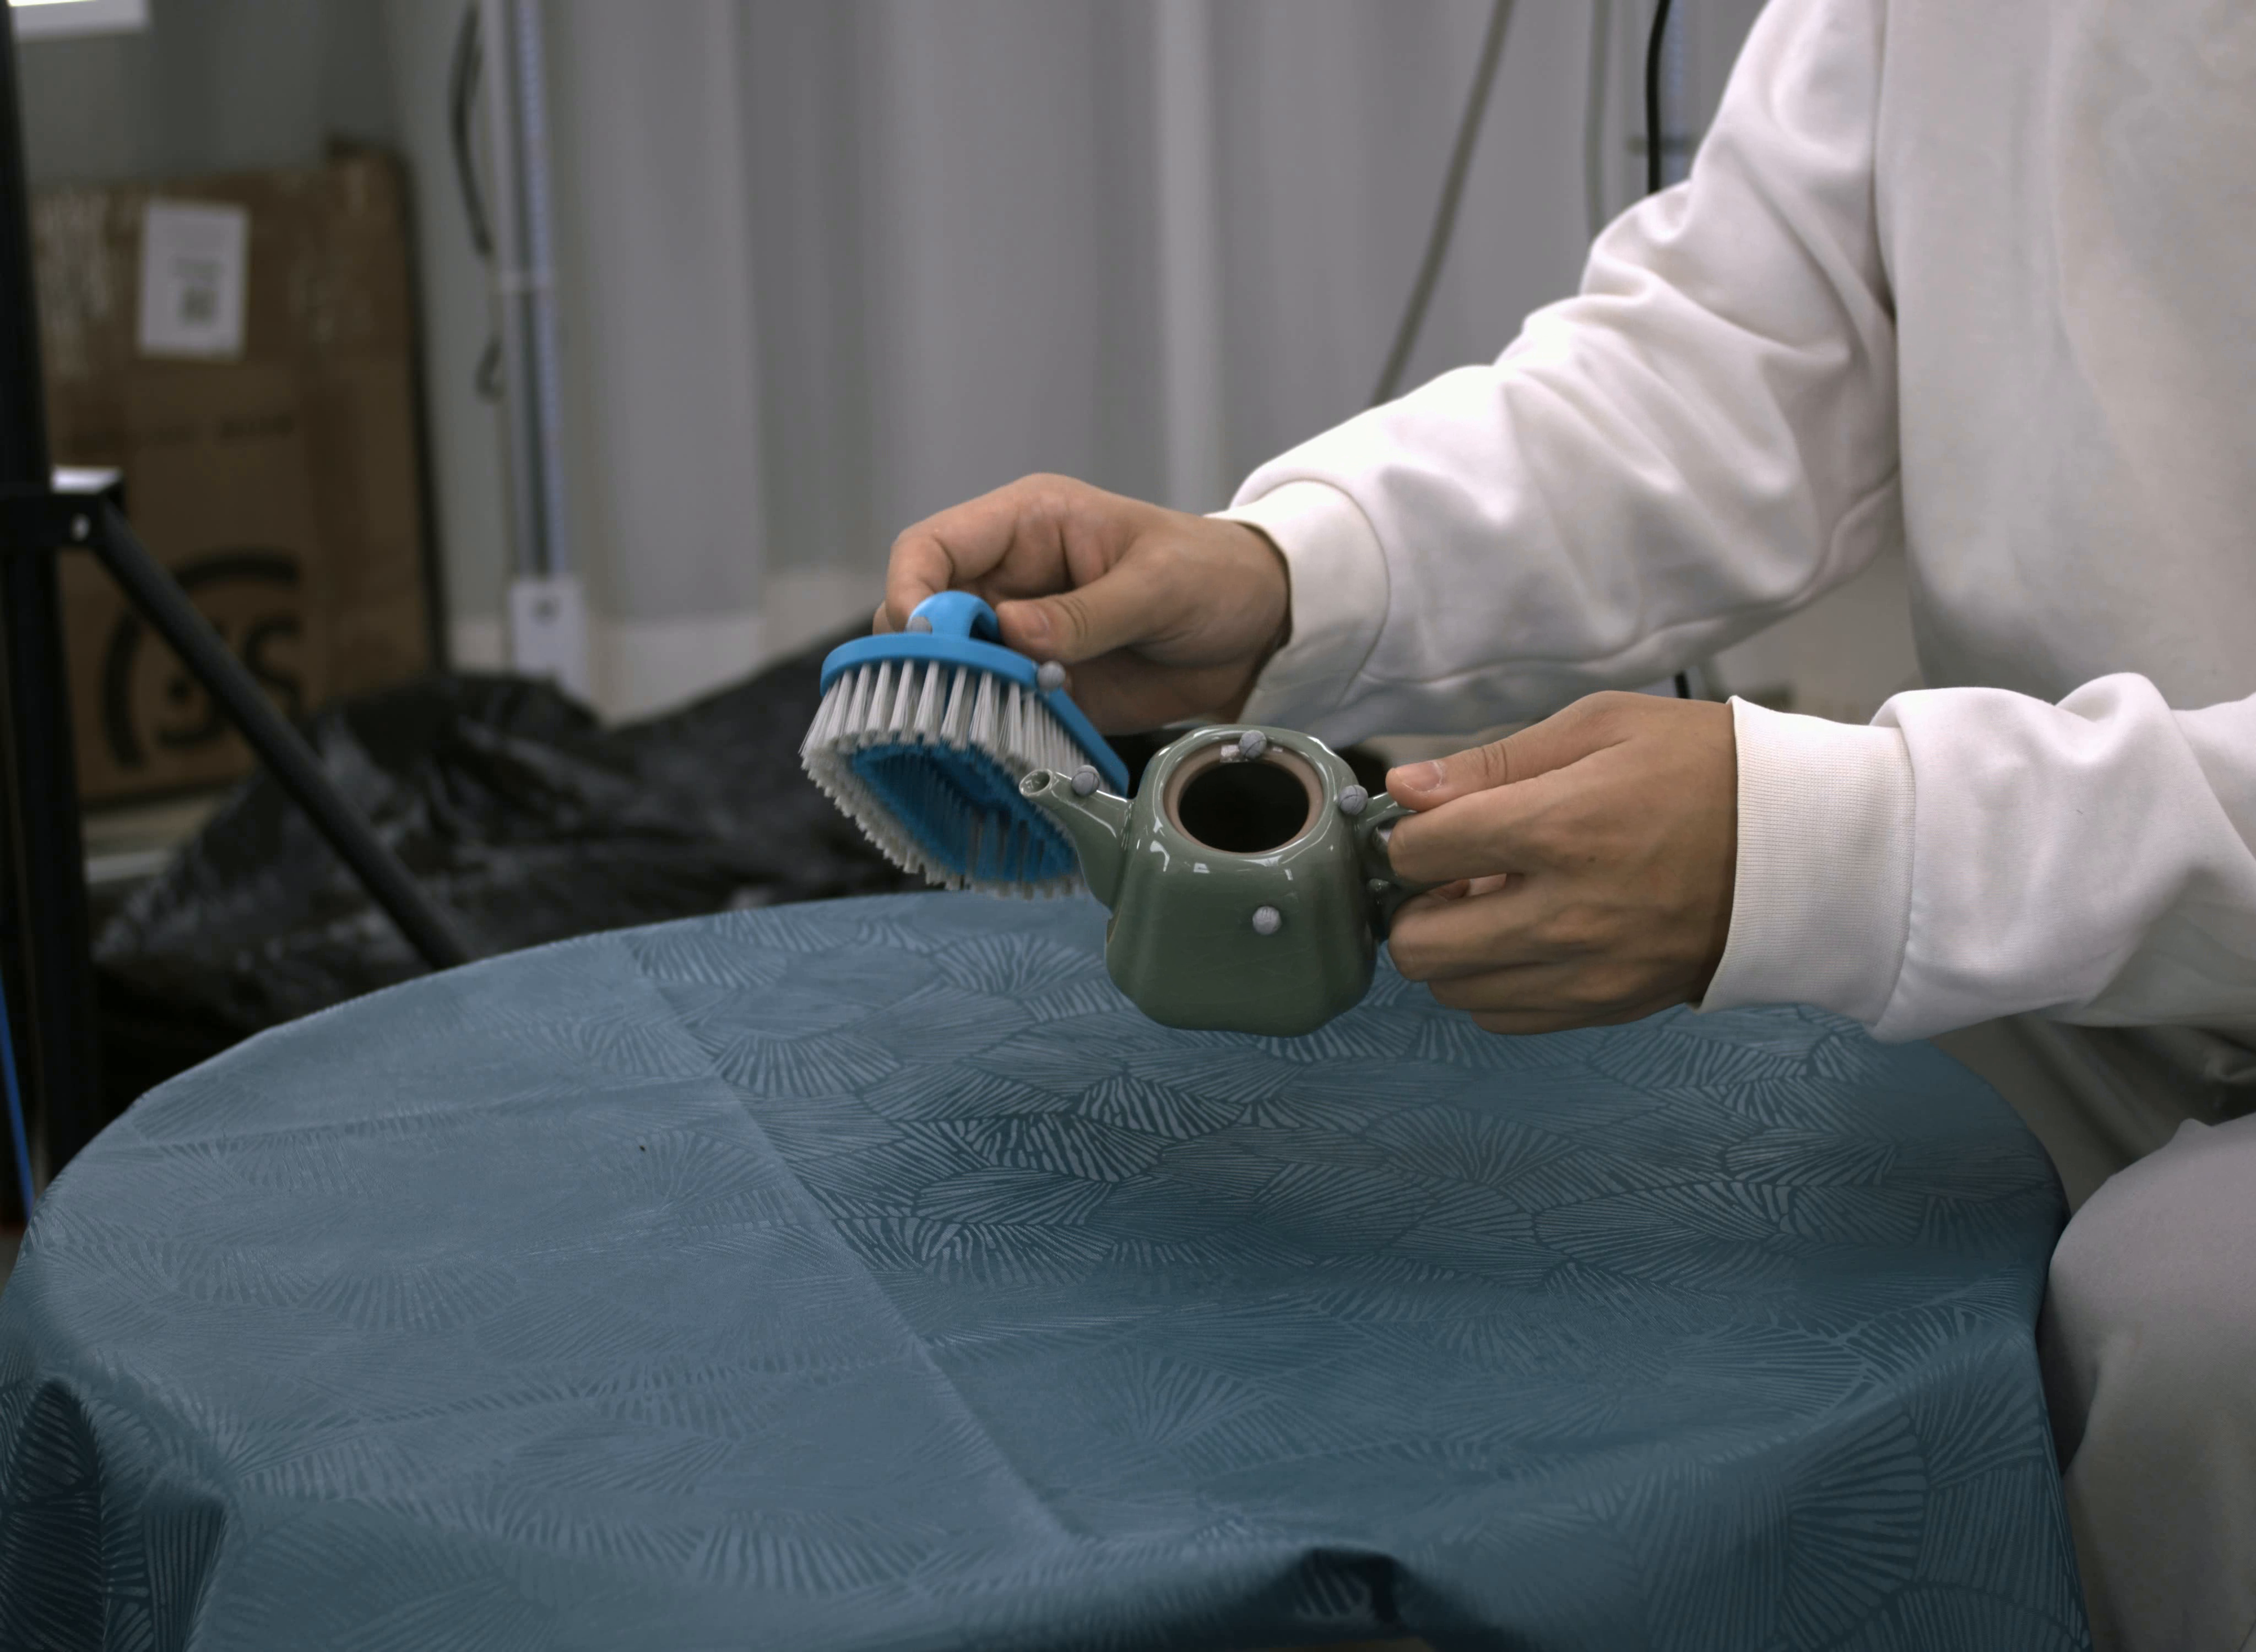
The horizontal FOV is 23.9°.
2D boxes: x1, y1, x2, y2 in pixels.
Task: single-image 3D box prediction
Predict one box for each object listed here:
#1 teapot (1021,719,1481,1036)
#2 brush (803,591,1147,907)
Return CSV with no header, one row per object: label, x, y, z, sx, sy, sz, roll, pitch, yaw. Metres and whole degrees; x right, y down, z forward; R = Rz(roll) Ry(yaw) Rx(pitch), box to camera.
teapot,0.035,0.013,1.531,0.133,0.074,0.080,5,48,8
brush,-0.045,-0.029,1.627,0.085,0.064,0.139,-6,-26,20
